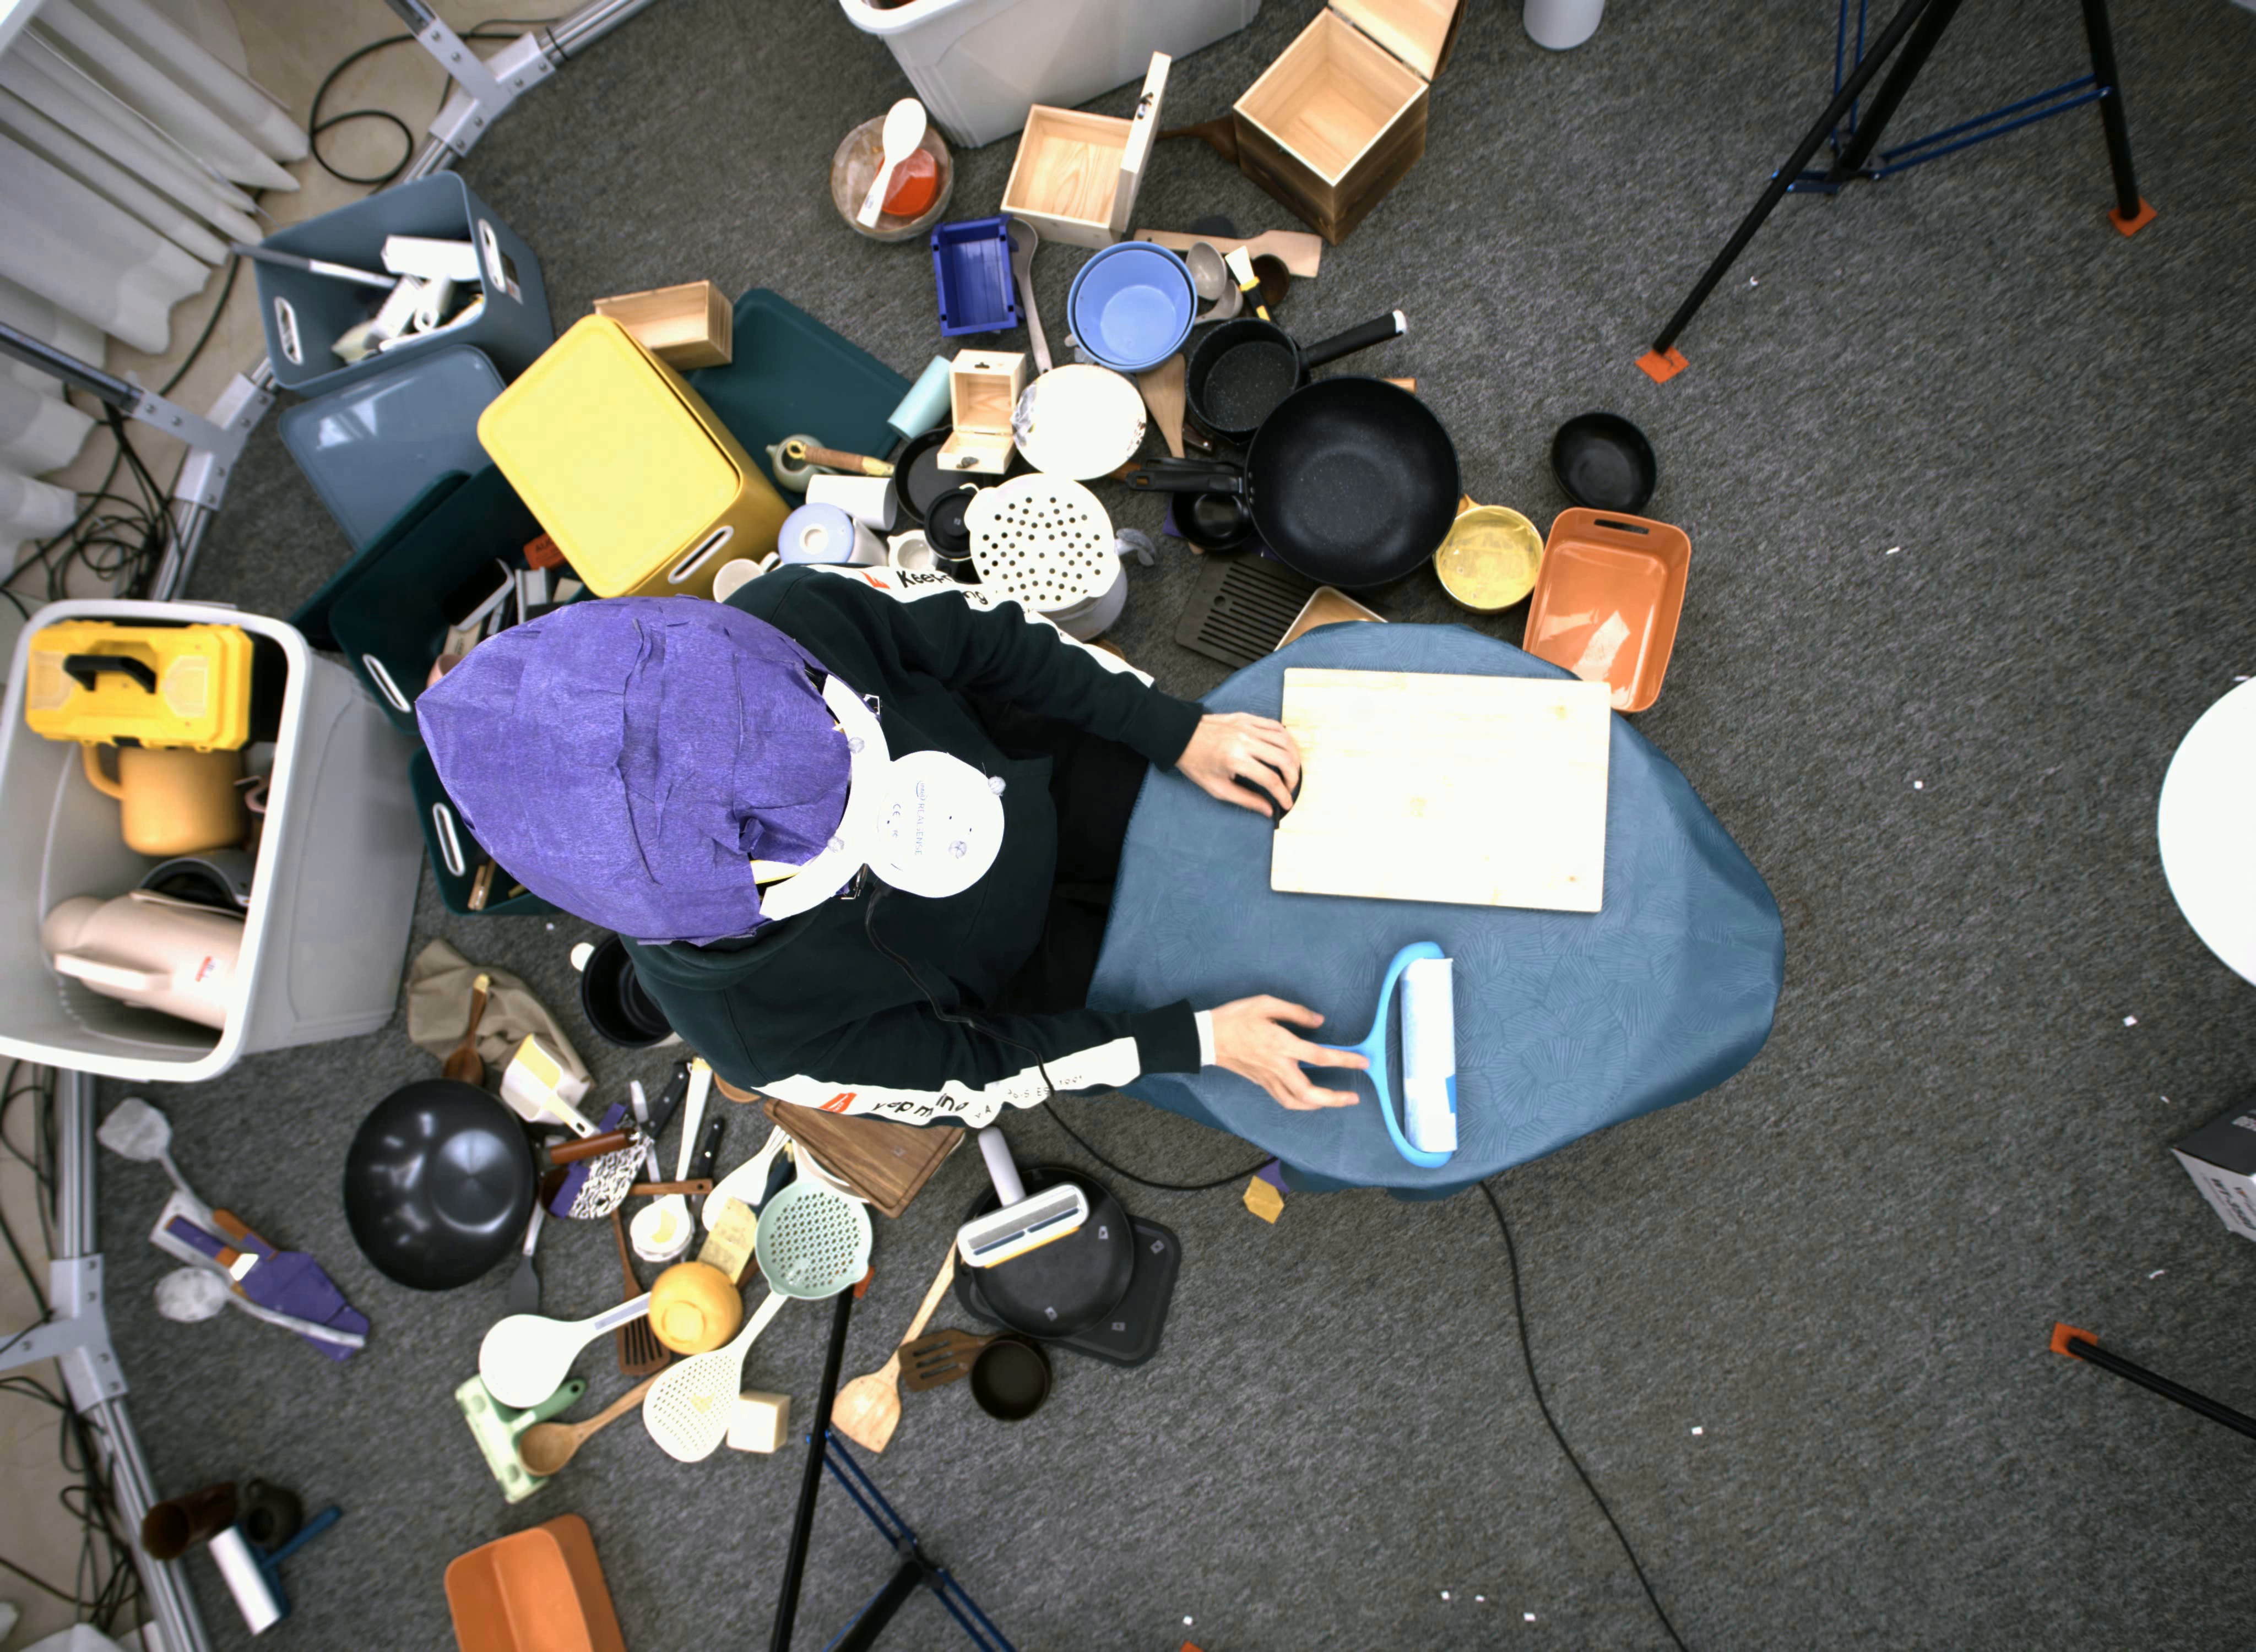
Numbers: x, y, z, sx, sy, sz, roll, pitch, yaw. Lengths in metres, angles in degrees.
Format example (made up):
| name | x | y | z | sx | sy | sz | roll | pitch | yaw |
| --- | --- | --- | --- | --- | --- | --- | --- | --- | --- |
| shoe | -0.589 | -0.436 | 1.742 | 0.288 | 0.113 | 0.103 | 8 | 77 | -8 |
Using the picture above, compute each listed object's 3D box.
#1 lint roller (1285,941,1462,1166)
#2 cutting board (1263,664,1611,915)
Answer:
| name | x | y | z | sx | sy | sz | roll | pitch | yaw |
| --- | --- | --- | --- | --- | --- | --- | --- | --- | --- |
| lint roller | 0.251 | 0.235 | 1.422 | 0.181 | 0.068 | 0.228 | -5 | 87 | 9 |
| cutting board | 0.322 | -0.043 | 1.444 | 0.350 | 0.023 | 0.250 | 3 | 87 | 10 |
